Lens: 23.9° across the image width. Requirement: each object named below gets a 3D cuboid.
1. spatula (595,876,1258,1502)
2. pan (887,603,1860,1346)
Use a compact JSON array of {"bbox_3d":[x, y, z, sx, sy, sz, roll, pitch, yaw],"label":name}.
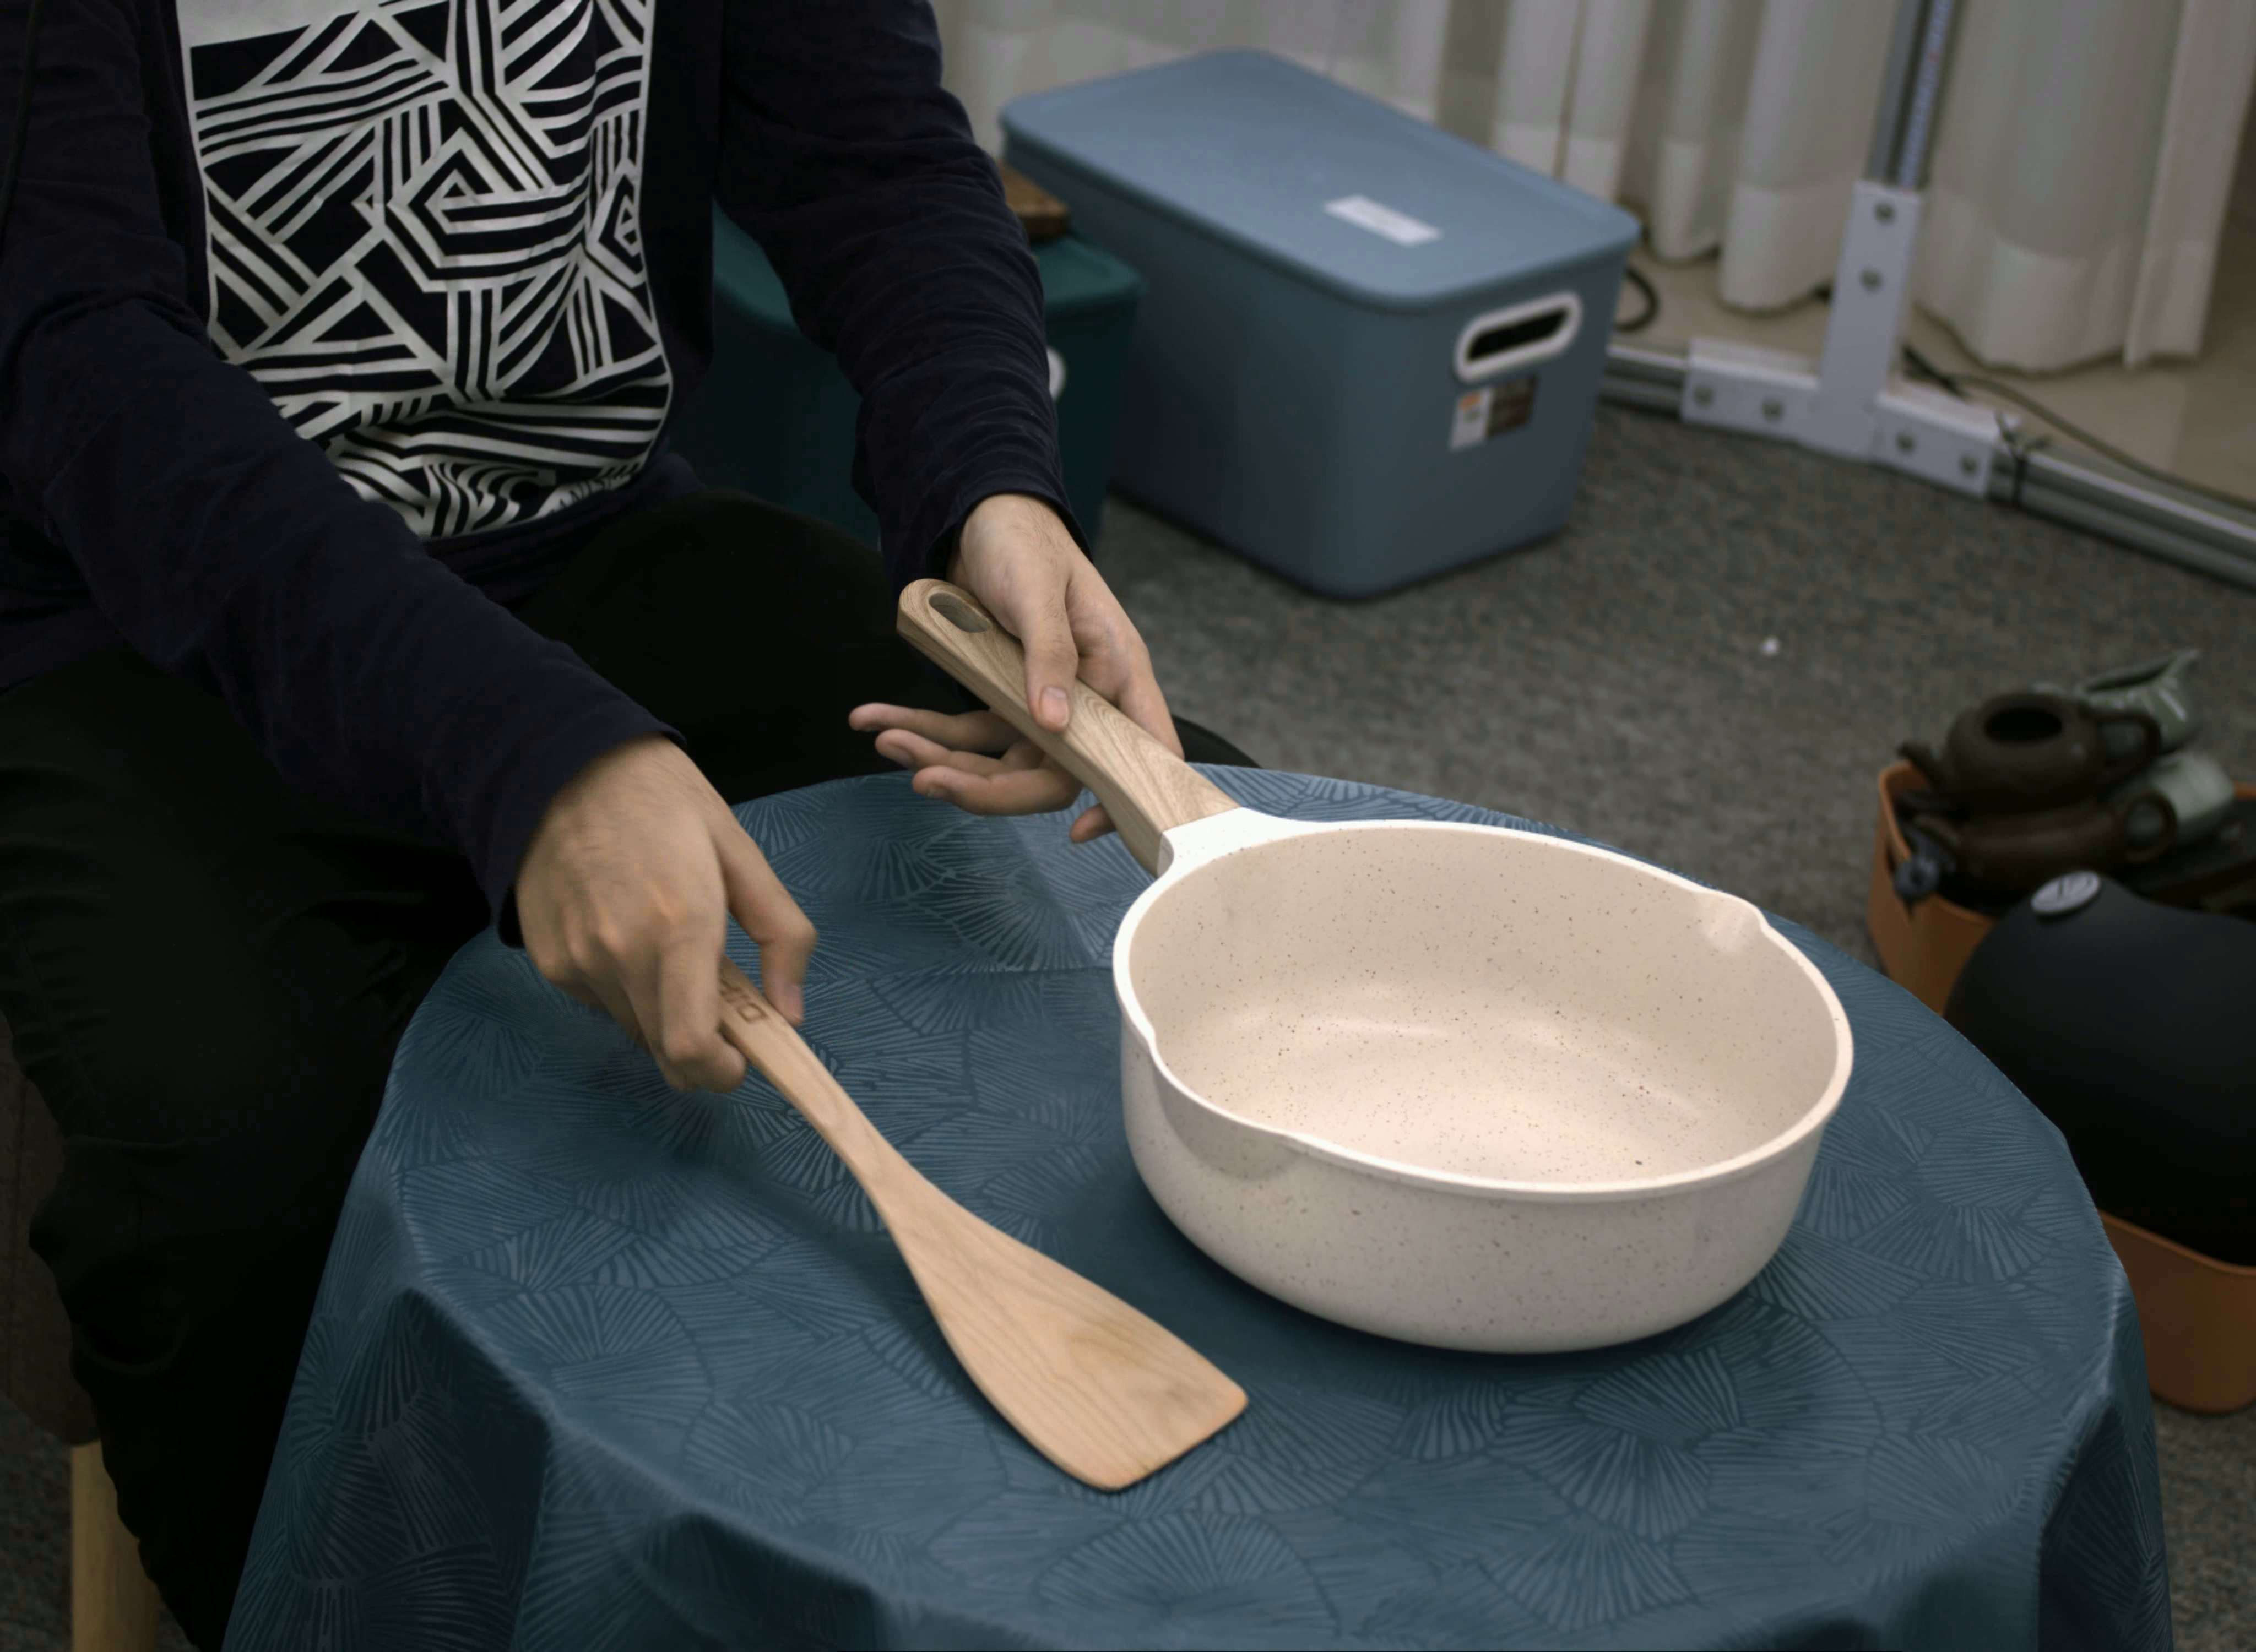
[{"bbox_3d":[-0.078,0.111,1.757,0.079,0.016,0.330,-16,46,-38],"label":"spatula"},{"bbox_3d":[0.058,0.047,1.869,0.262,0.101,0.438,-18,35,-38],"label":"pan"}]
